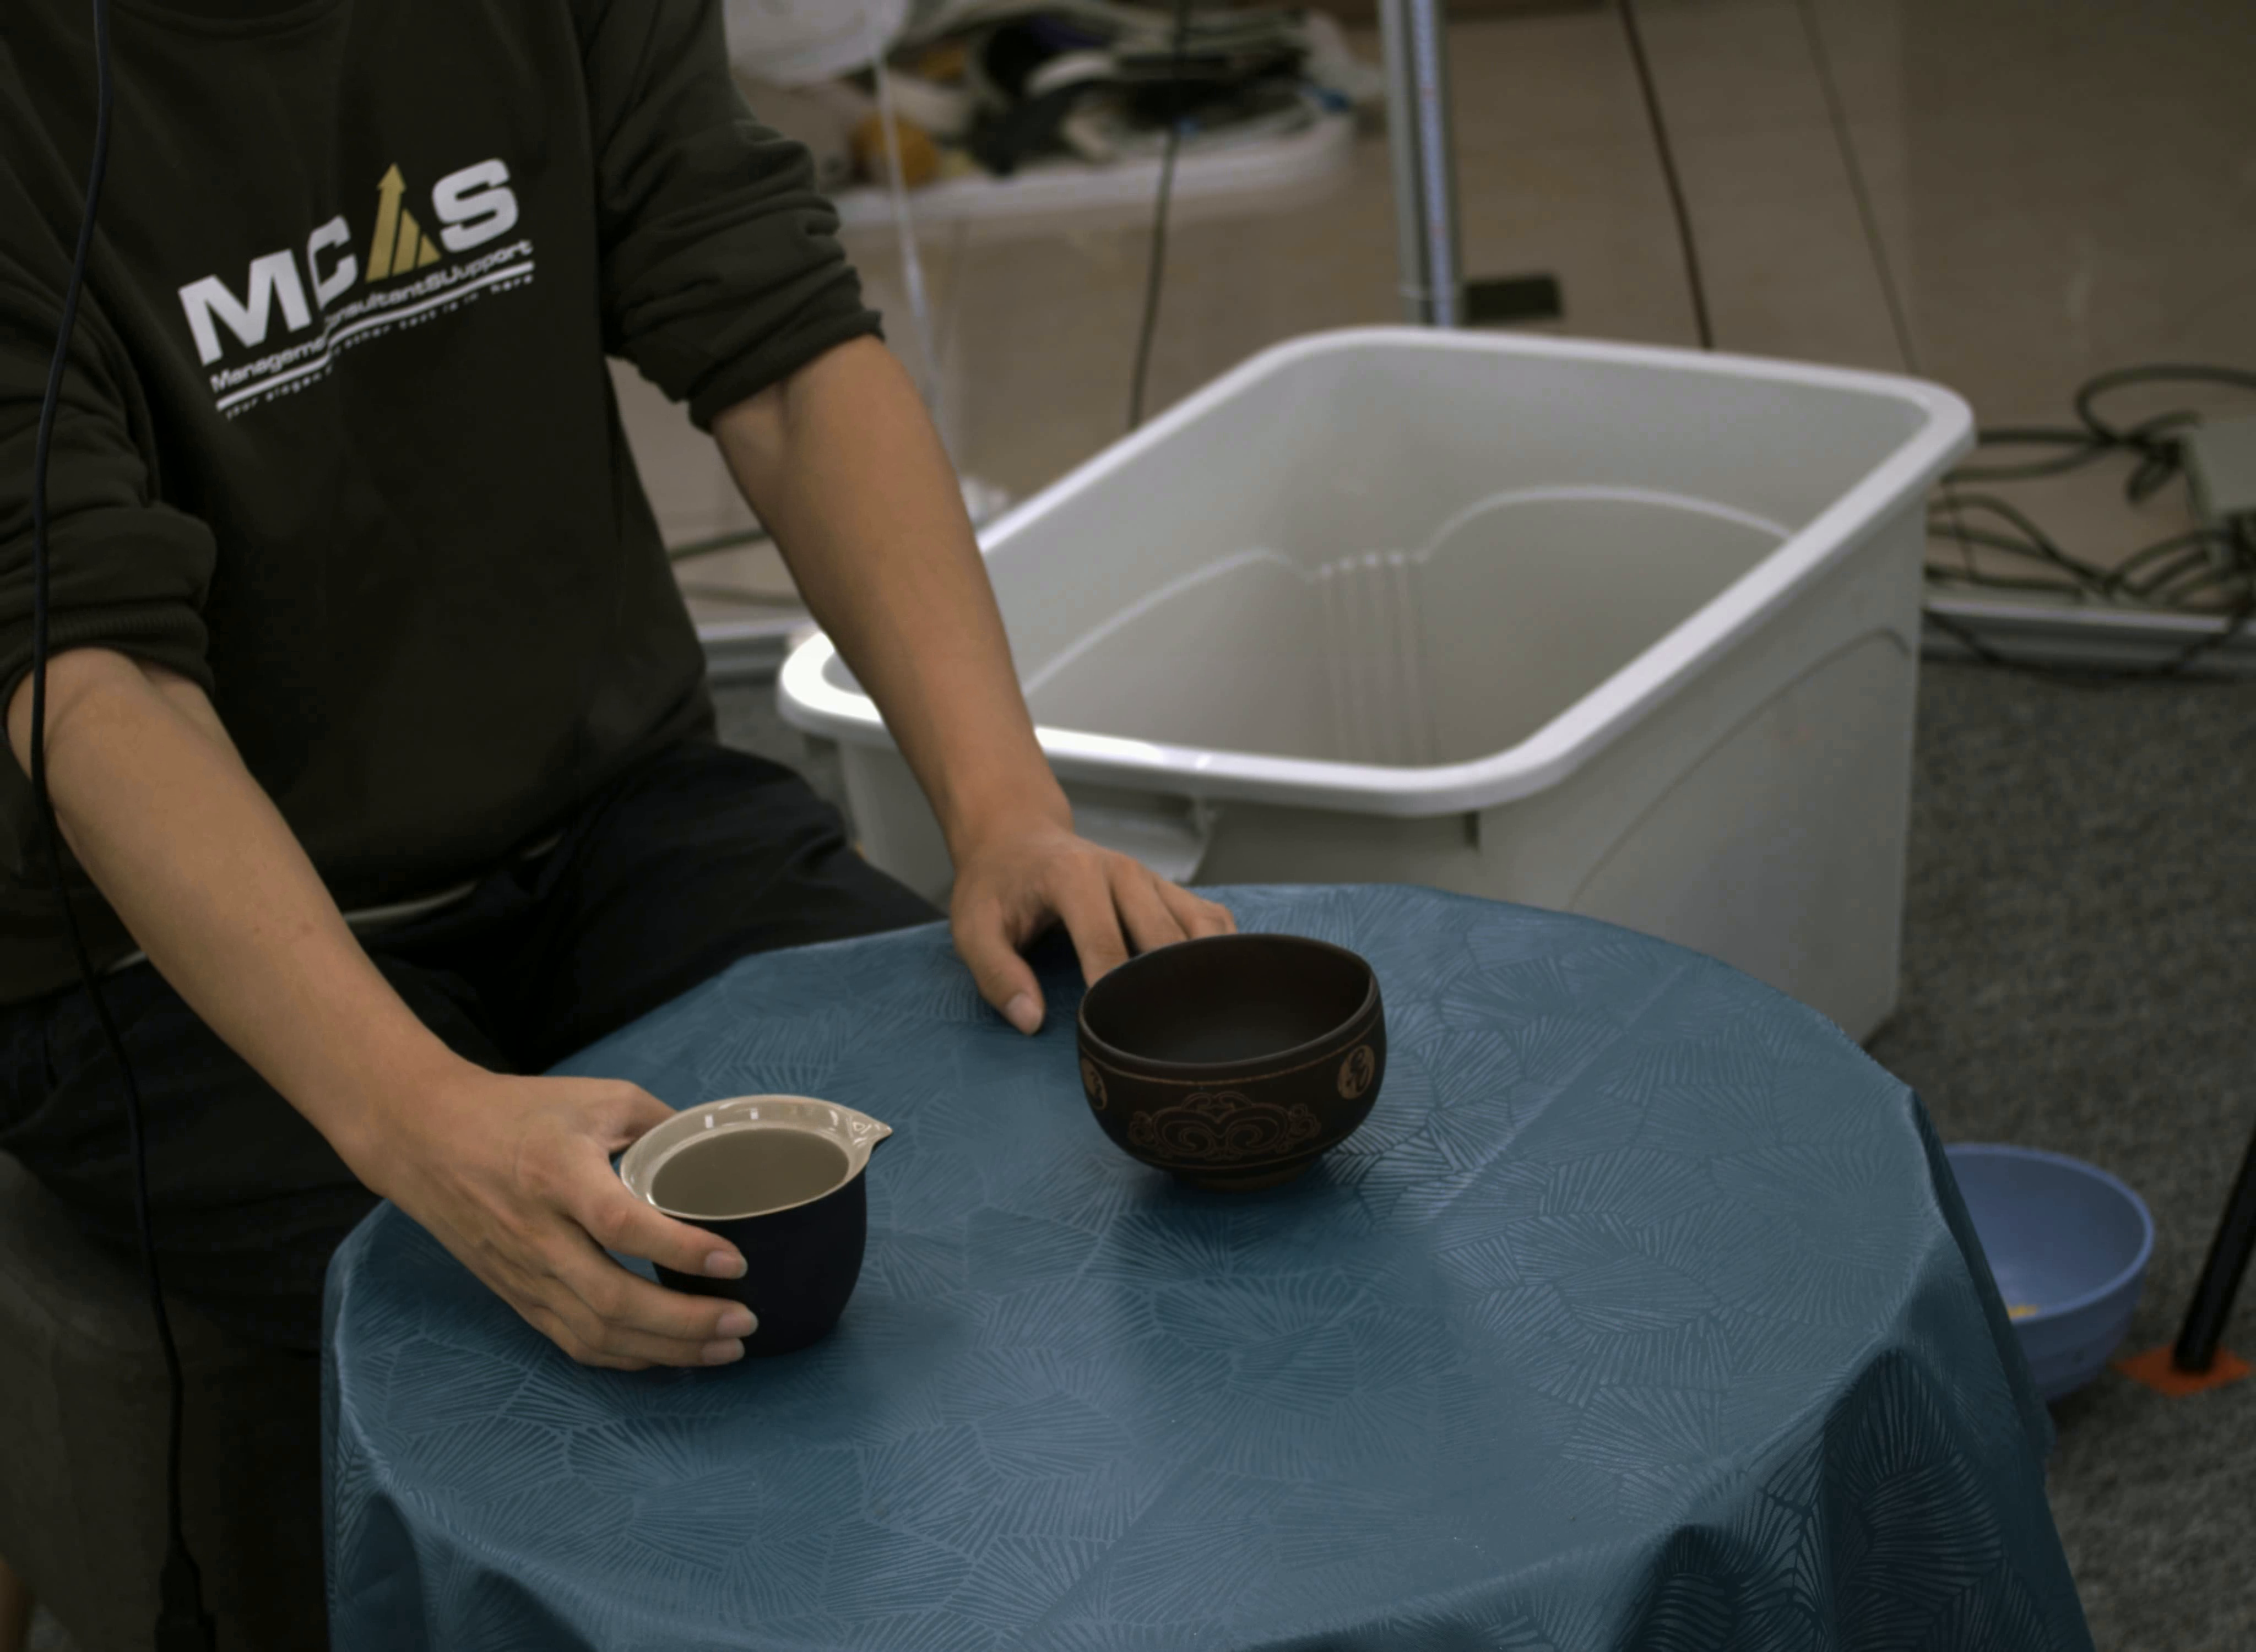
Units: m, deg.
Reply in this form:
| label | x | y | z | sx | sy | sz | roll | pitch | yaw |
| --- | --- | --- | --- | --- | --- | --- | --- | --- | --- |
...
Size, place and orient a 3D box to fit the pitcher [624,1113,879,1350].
| label | x | y | z | sx | sy | sz | roll | pitch | yaw |
| --- | --- | --- | --- | --- | --- | --- | --- | --- | --- |
| pitcher | -0.133 | 0.147 | 2.068 | 0.096 | 0.072 | 0.082 | -11 | 25 | -9 |

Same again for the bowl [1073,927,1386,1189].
| label | x | y | z | sx | sy | sz | roll | pitch | yaw |
| --- | --- | --- | --- | --- | --- | --- | --- | --- | --- |
| bowl | 0.040 | 0.094 | 2.148 | 0.118 | 0.071 | 0.116 | -5 | 27 | 3 |
